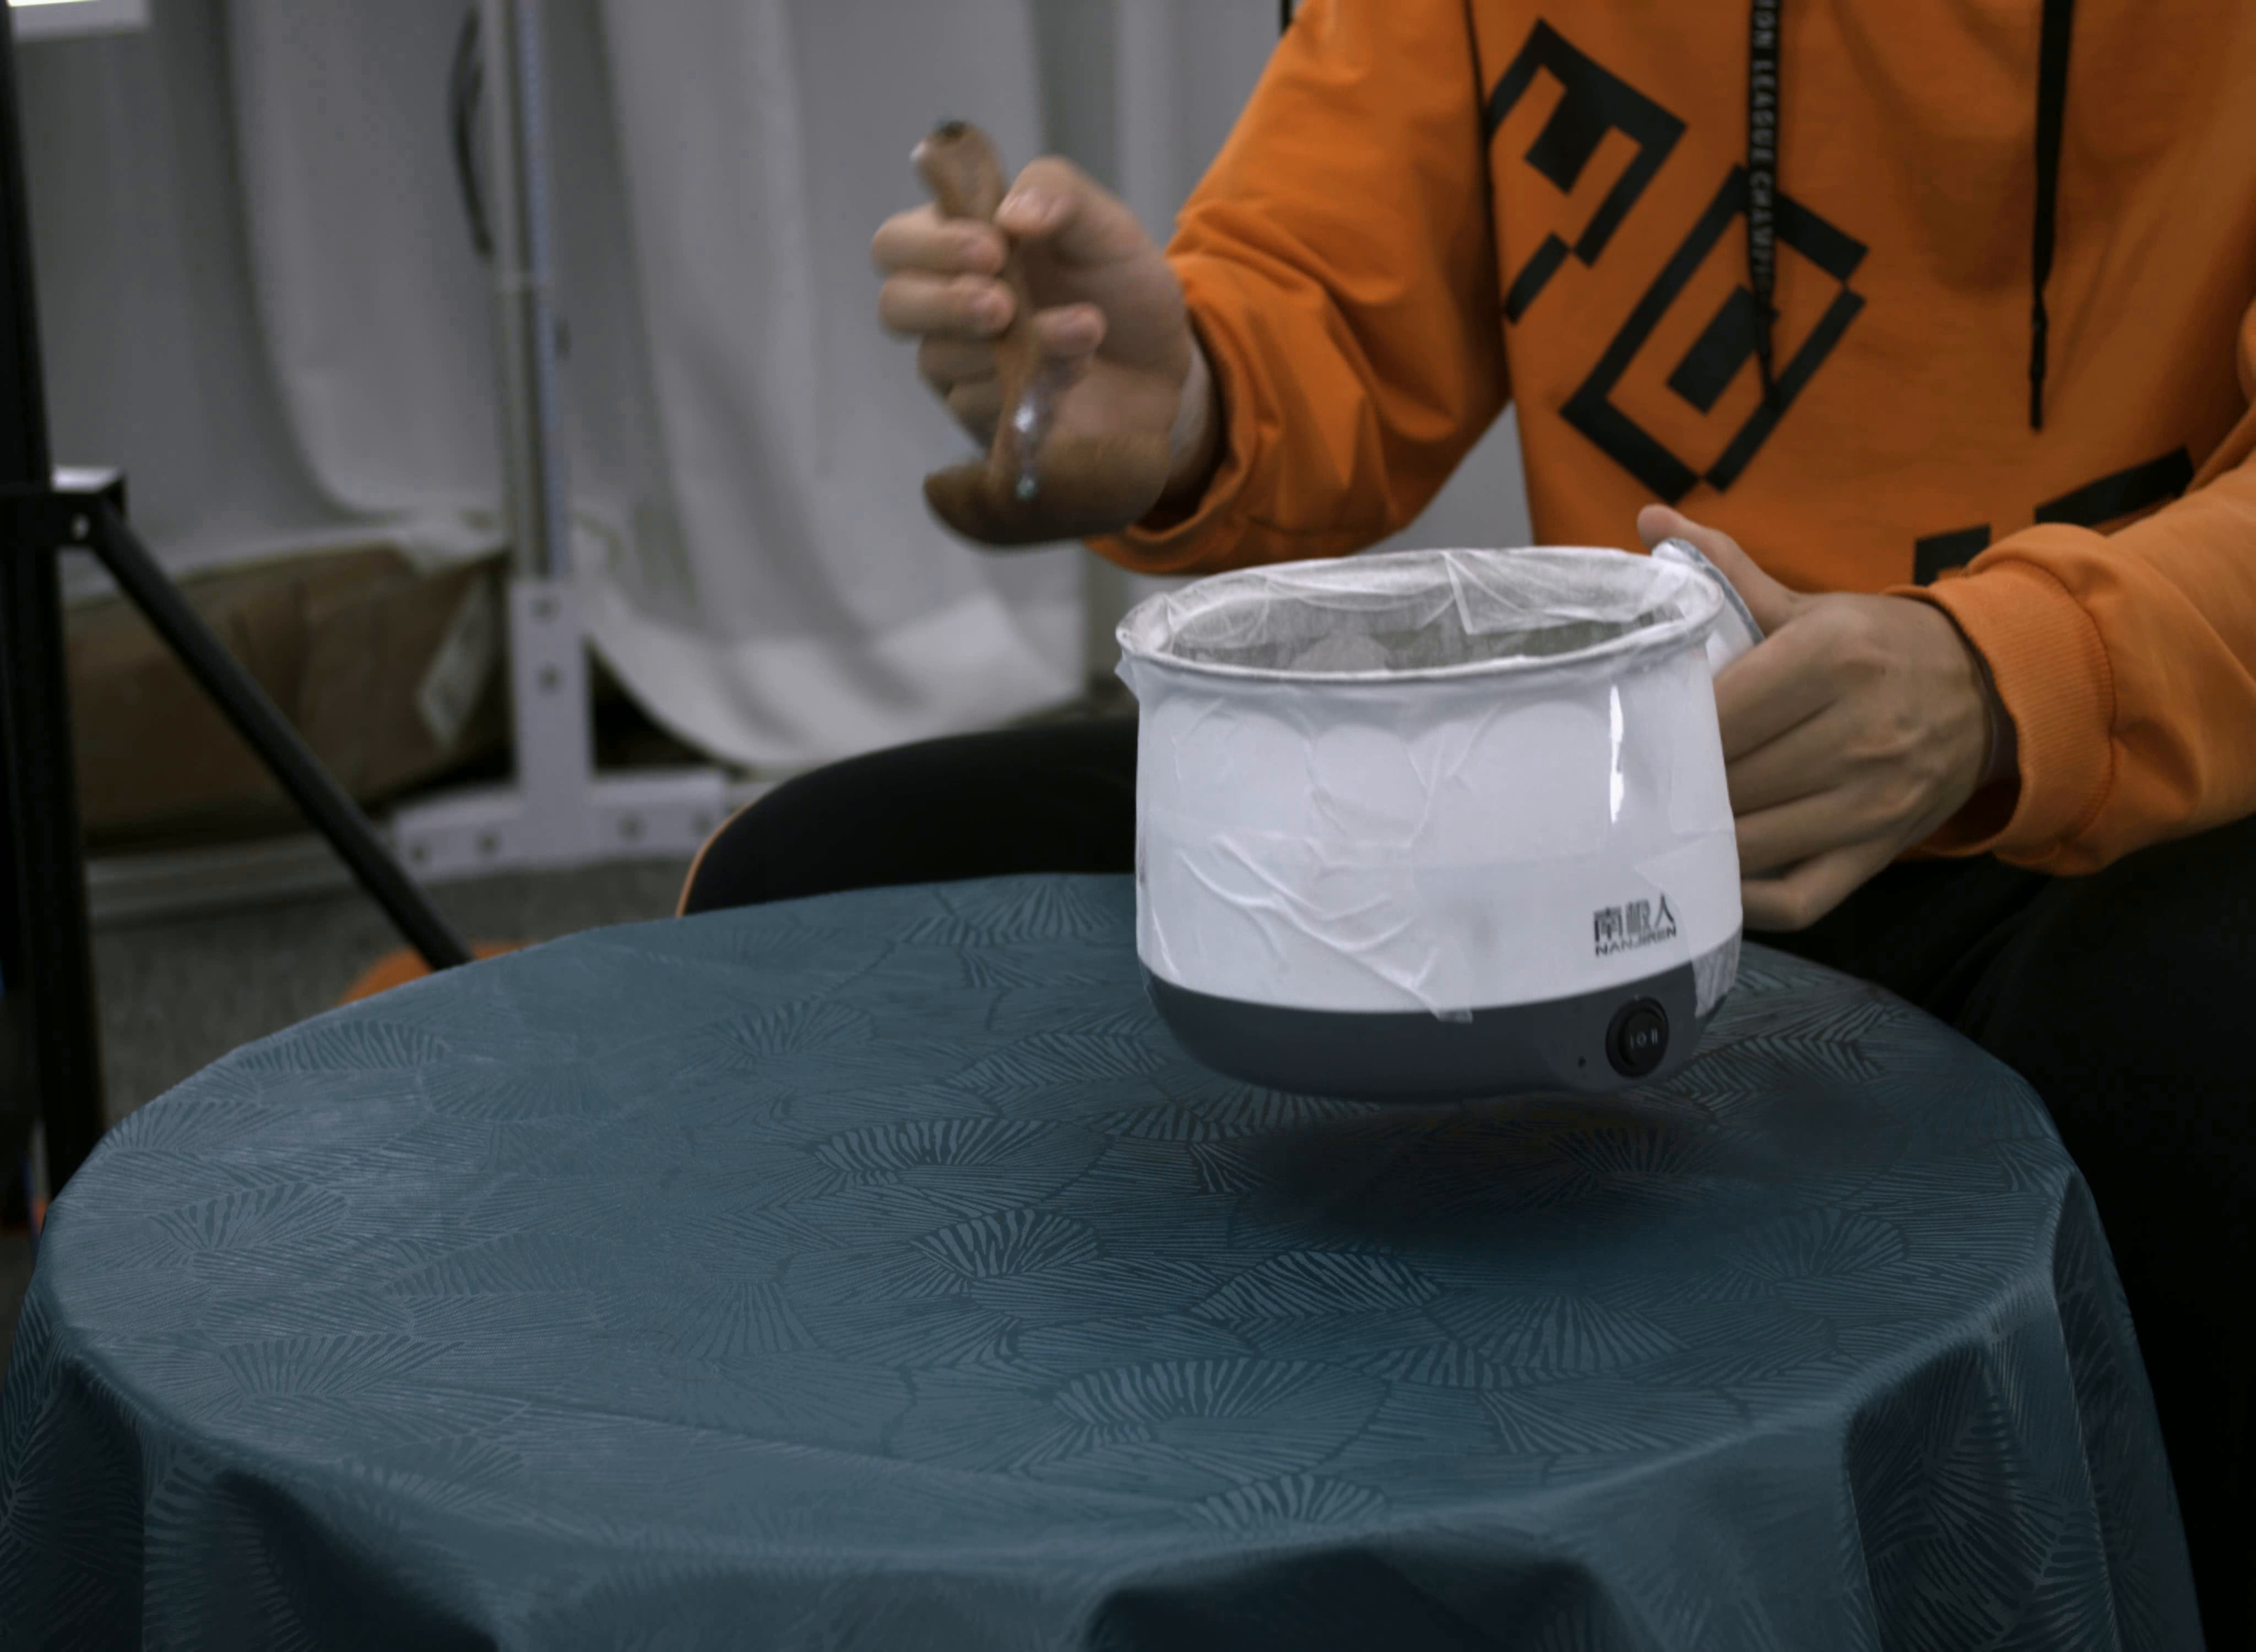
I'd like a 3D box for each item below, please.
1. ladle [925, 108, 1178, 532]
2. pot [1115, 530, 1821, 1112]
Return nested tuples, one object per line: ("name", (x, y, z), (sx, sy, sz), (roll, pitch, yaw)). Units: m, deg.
("ladle", (-0.036, -0.171, 1.667), (0.076, 0.065, 0.264), (-4, 40, -7))
("pot", (0.110, -0.008, 1.561), (0.228, 0.136, 0.183), (-14, 16, -35))
